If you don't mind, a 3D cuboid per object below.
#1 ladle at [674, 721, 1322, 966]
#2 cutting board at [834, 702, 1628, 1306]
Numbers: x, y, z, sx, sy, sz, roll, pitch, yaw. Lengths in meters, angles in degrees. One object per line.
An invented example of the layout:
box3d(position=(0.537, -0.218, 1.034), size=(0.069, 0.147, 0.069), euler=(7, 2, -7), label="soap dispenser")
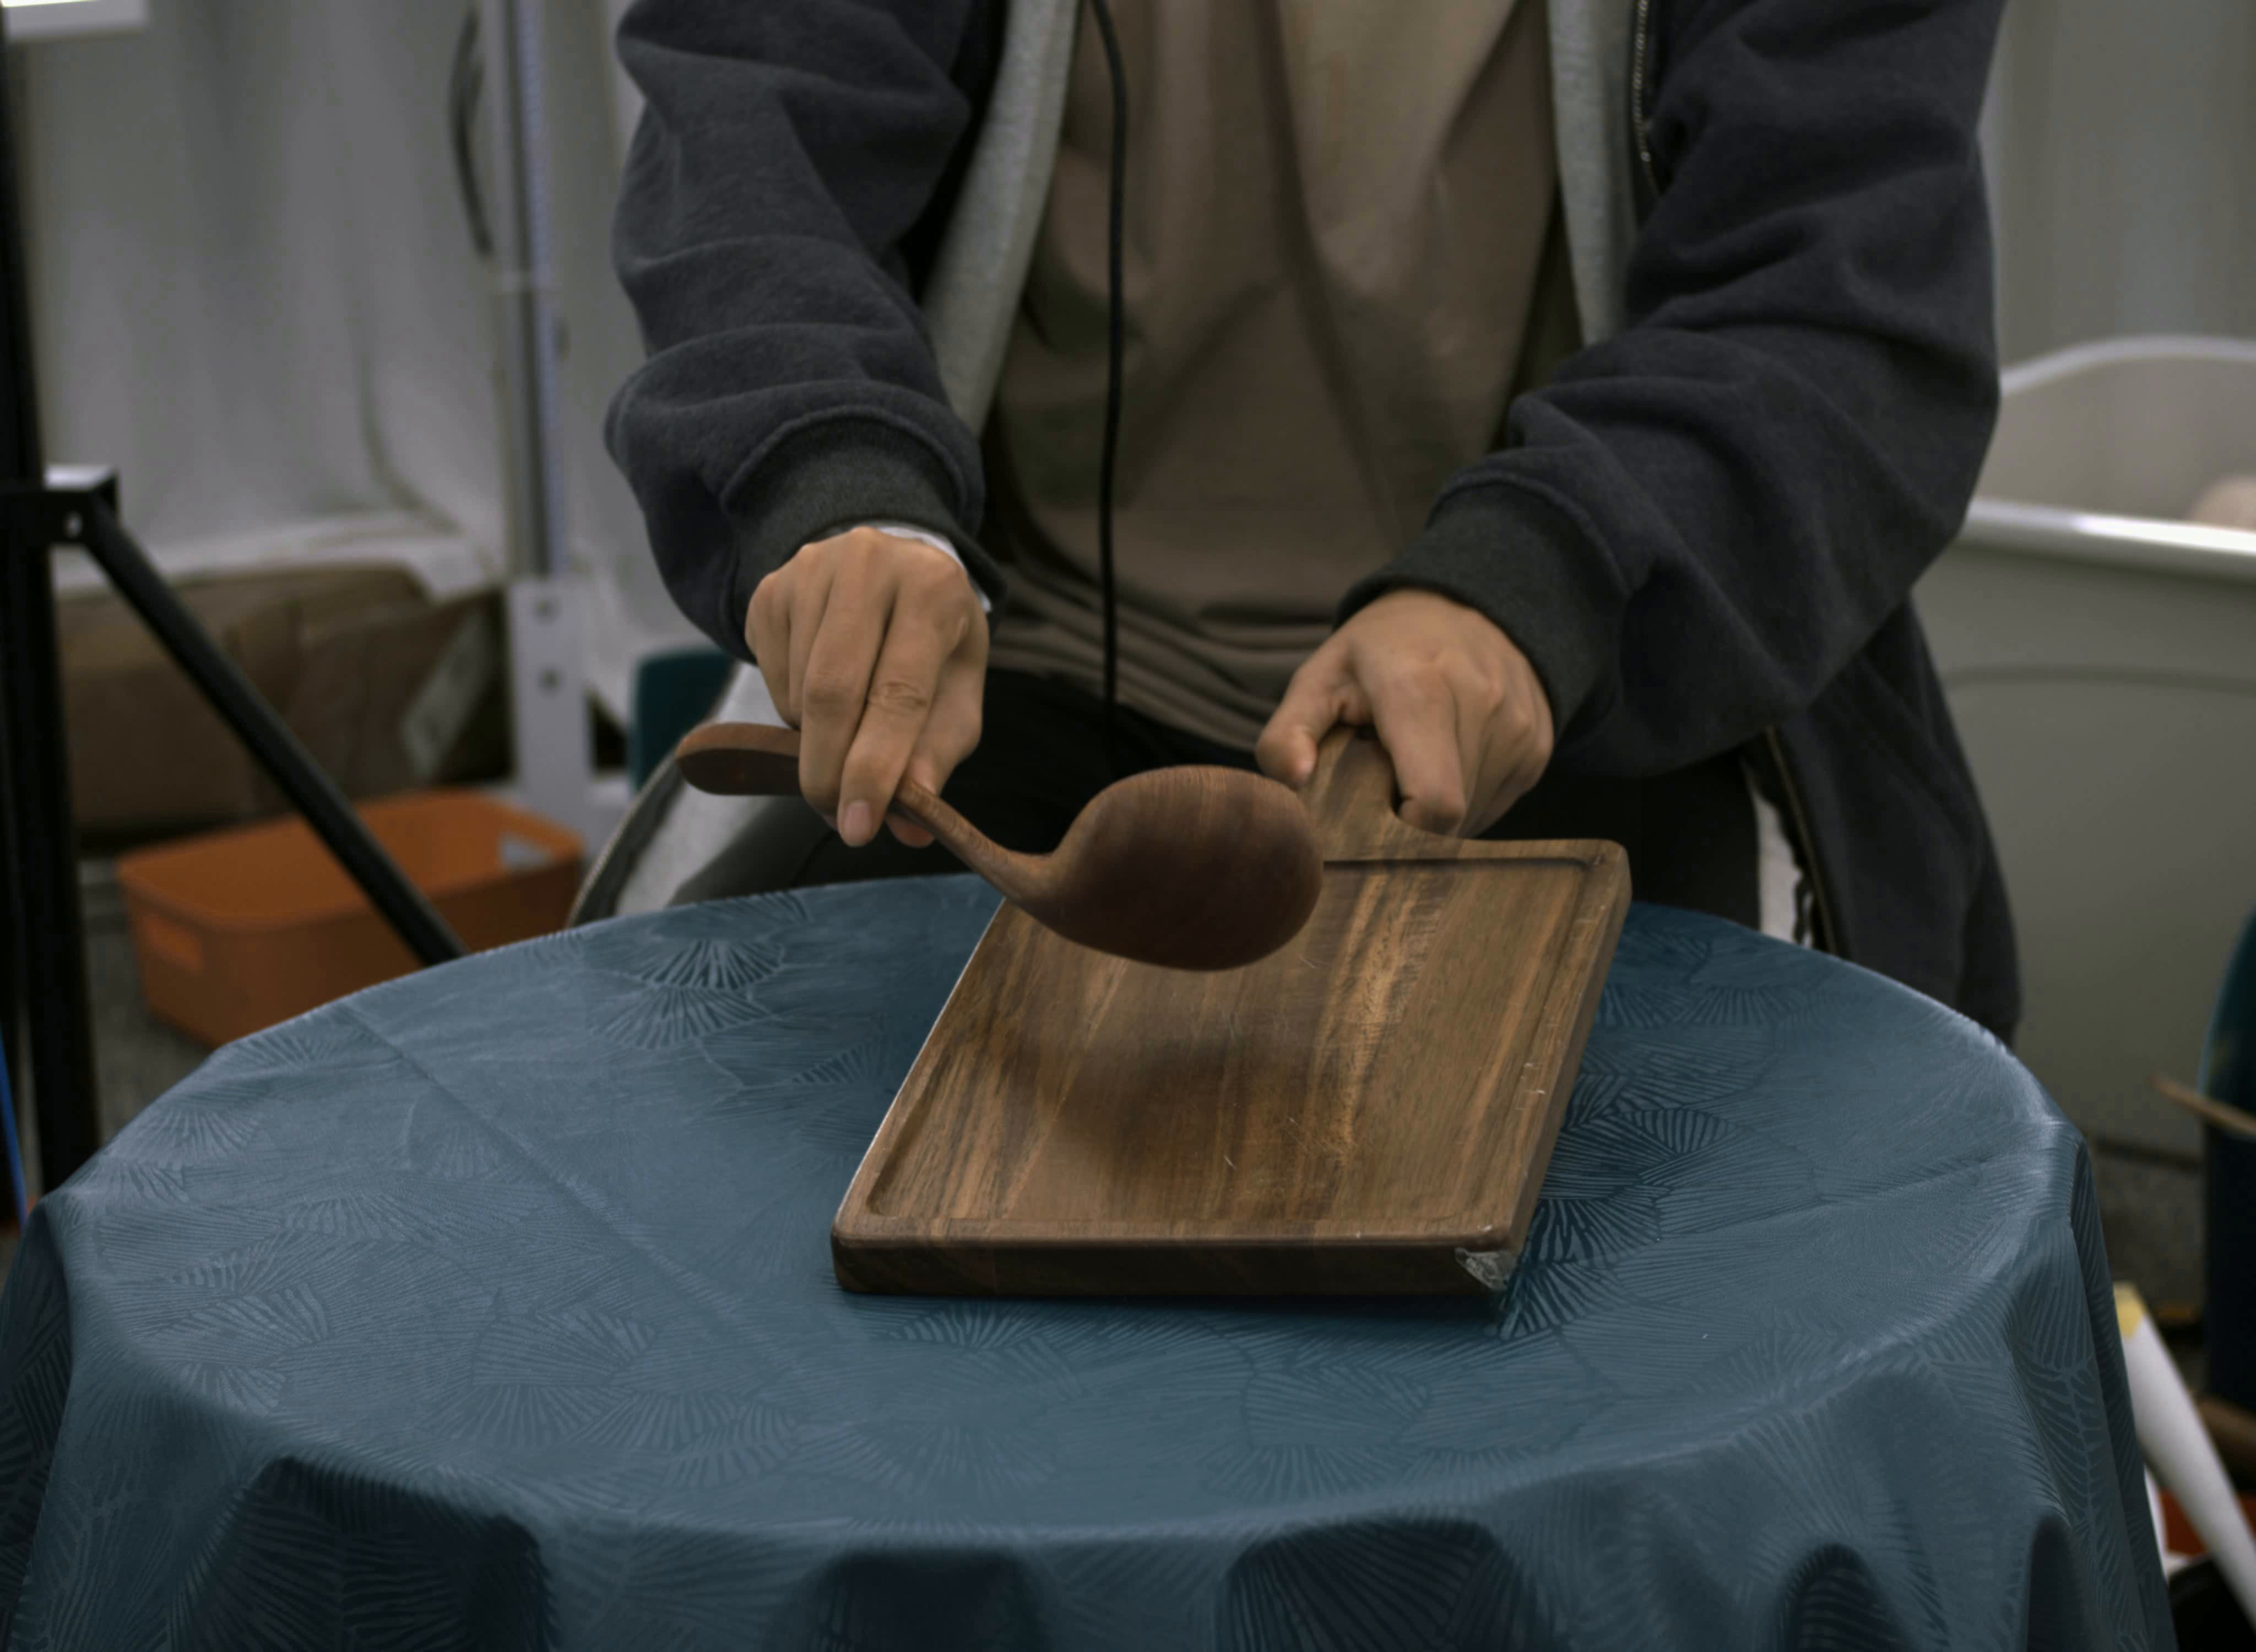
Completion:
box3d(position=(-0.043, -0.011, 1.621), size=(0.065, 0.075, 0.266), euler=(-47, 37, -19), label="ladle")
box3d(position=(0.046, 0.046, 1.610), size=(0.202, 0.023, 0.351), euler=(-1, 26, 15), label="cutting board")
